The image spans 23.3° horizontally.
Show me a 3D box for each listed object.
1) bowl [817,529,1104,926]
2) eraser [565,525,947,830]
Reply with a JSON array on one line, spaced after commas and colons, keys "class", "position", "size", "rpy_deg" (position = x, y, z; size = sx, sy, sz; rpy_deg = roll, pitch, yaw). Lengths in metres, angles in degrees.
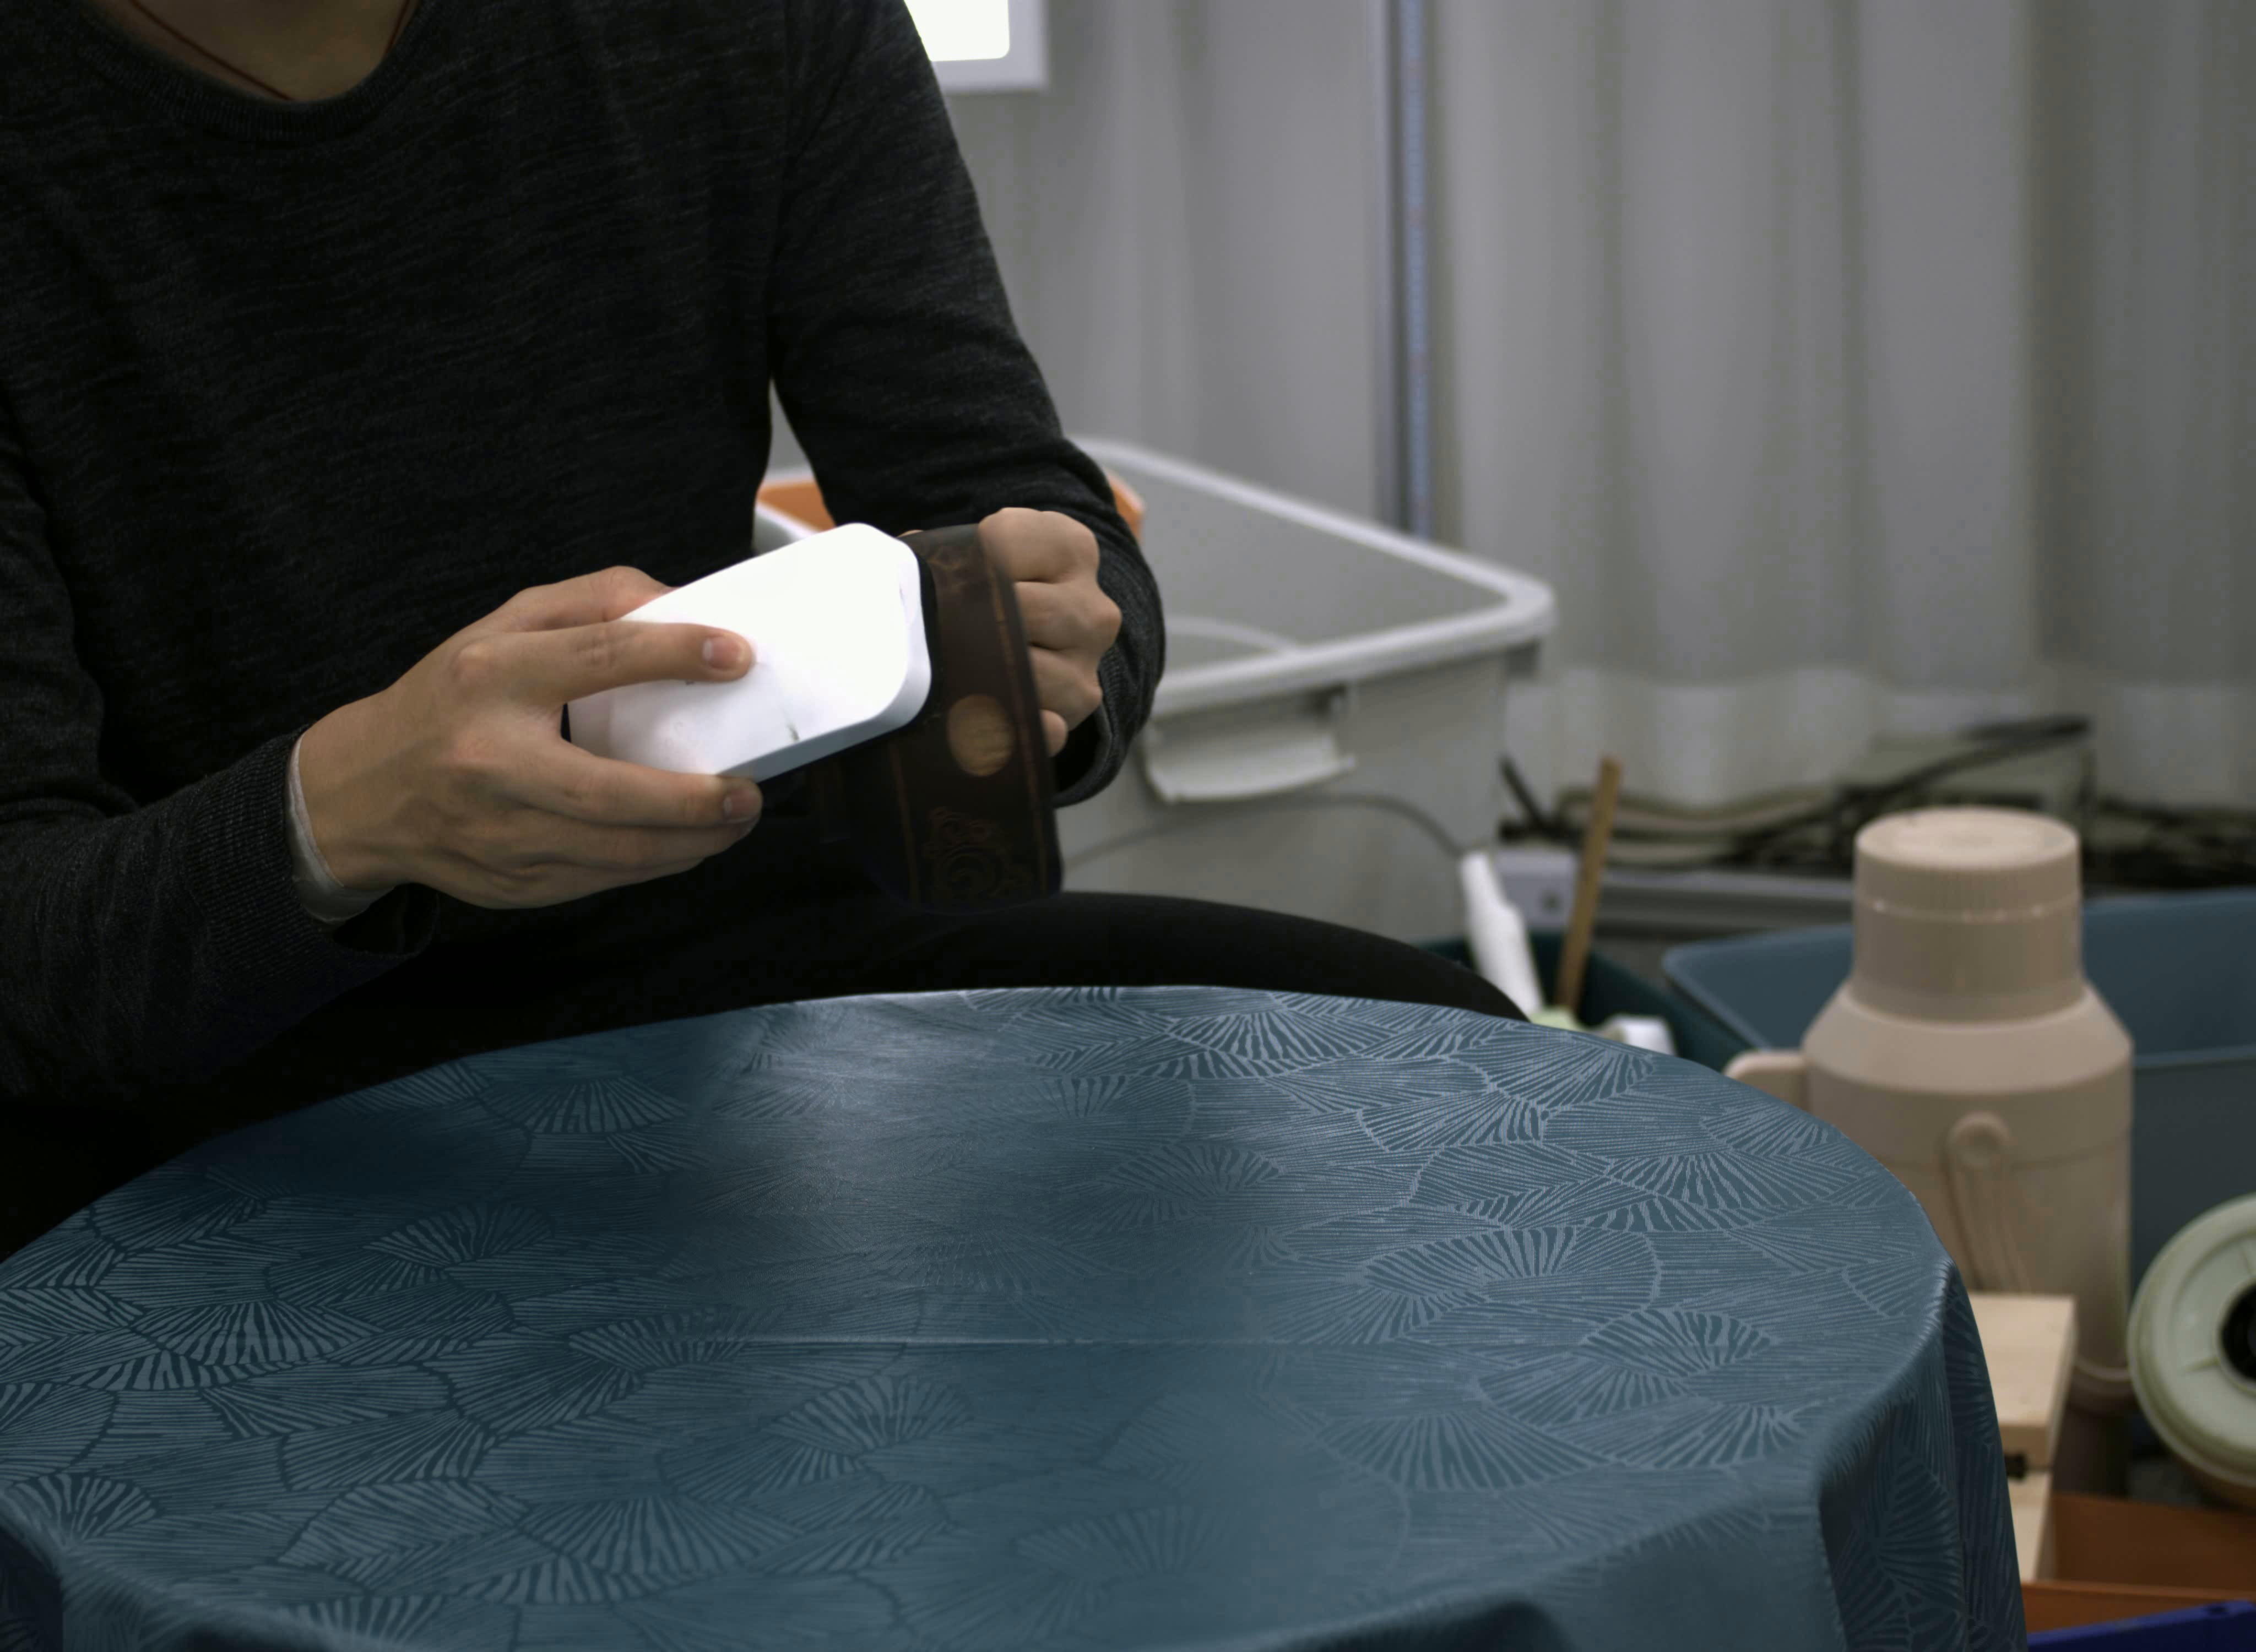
[{"class": "bowl", "position": [-0.058, -0.025, 1.645], "size": [0.069, 0.117, 0.119], "rpy_deg": [-18, 17, -7]}, {"class": "eraser", "position": [-0.112, -0.043, 1.605], "size": [0.131, 0.064, 0.034], "rpy_deg": [-19, -24, 33]}]
